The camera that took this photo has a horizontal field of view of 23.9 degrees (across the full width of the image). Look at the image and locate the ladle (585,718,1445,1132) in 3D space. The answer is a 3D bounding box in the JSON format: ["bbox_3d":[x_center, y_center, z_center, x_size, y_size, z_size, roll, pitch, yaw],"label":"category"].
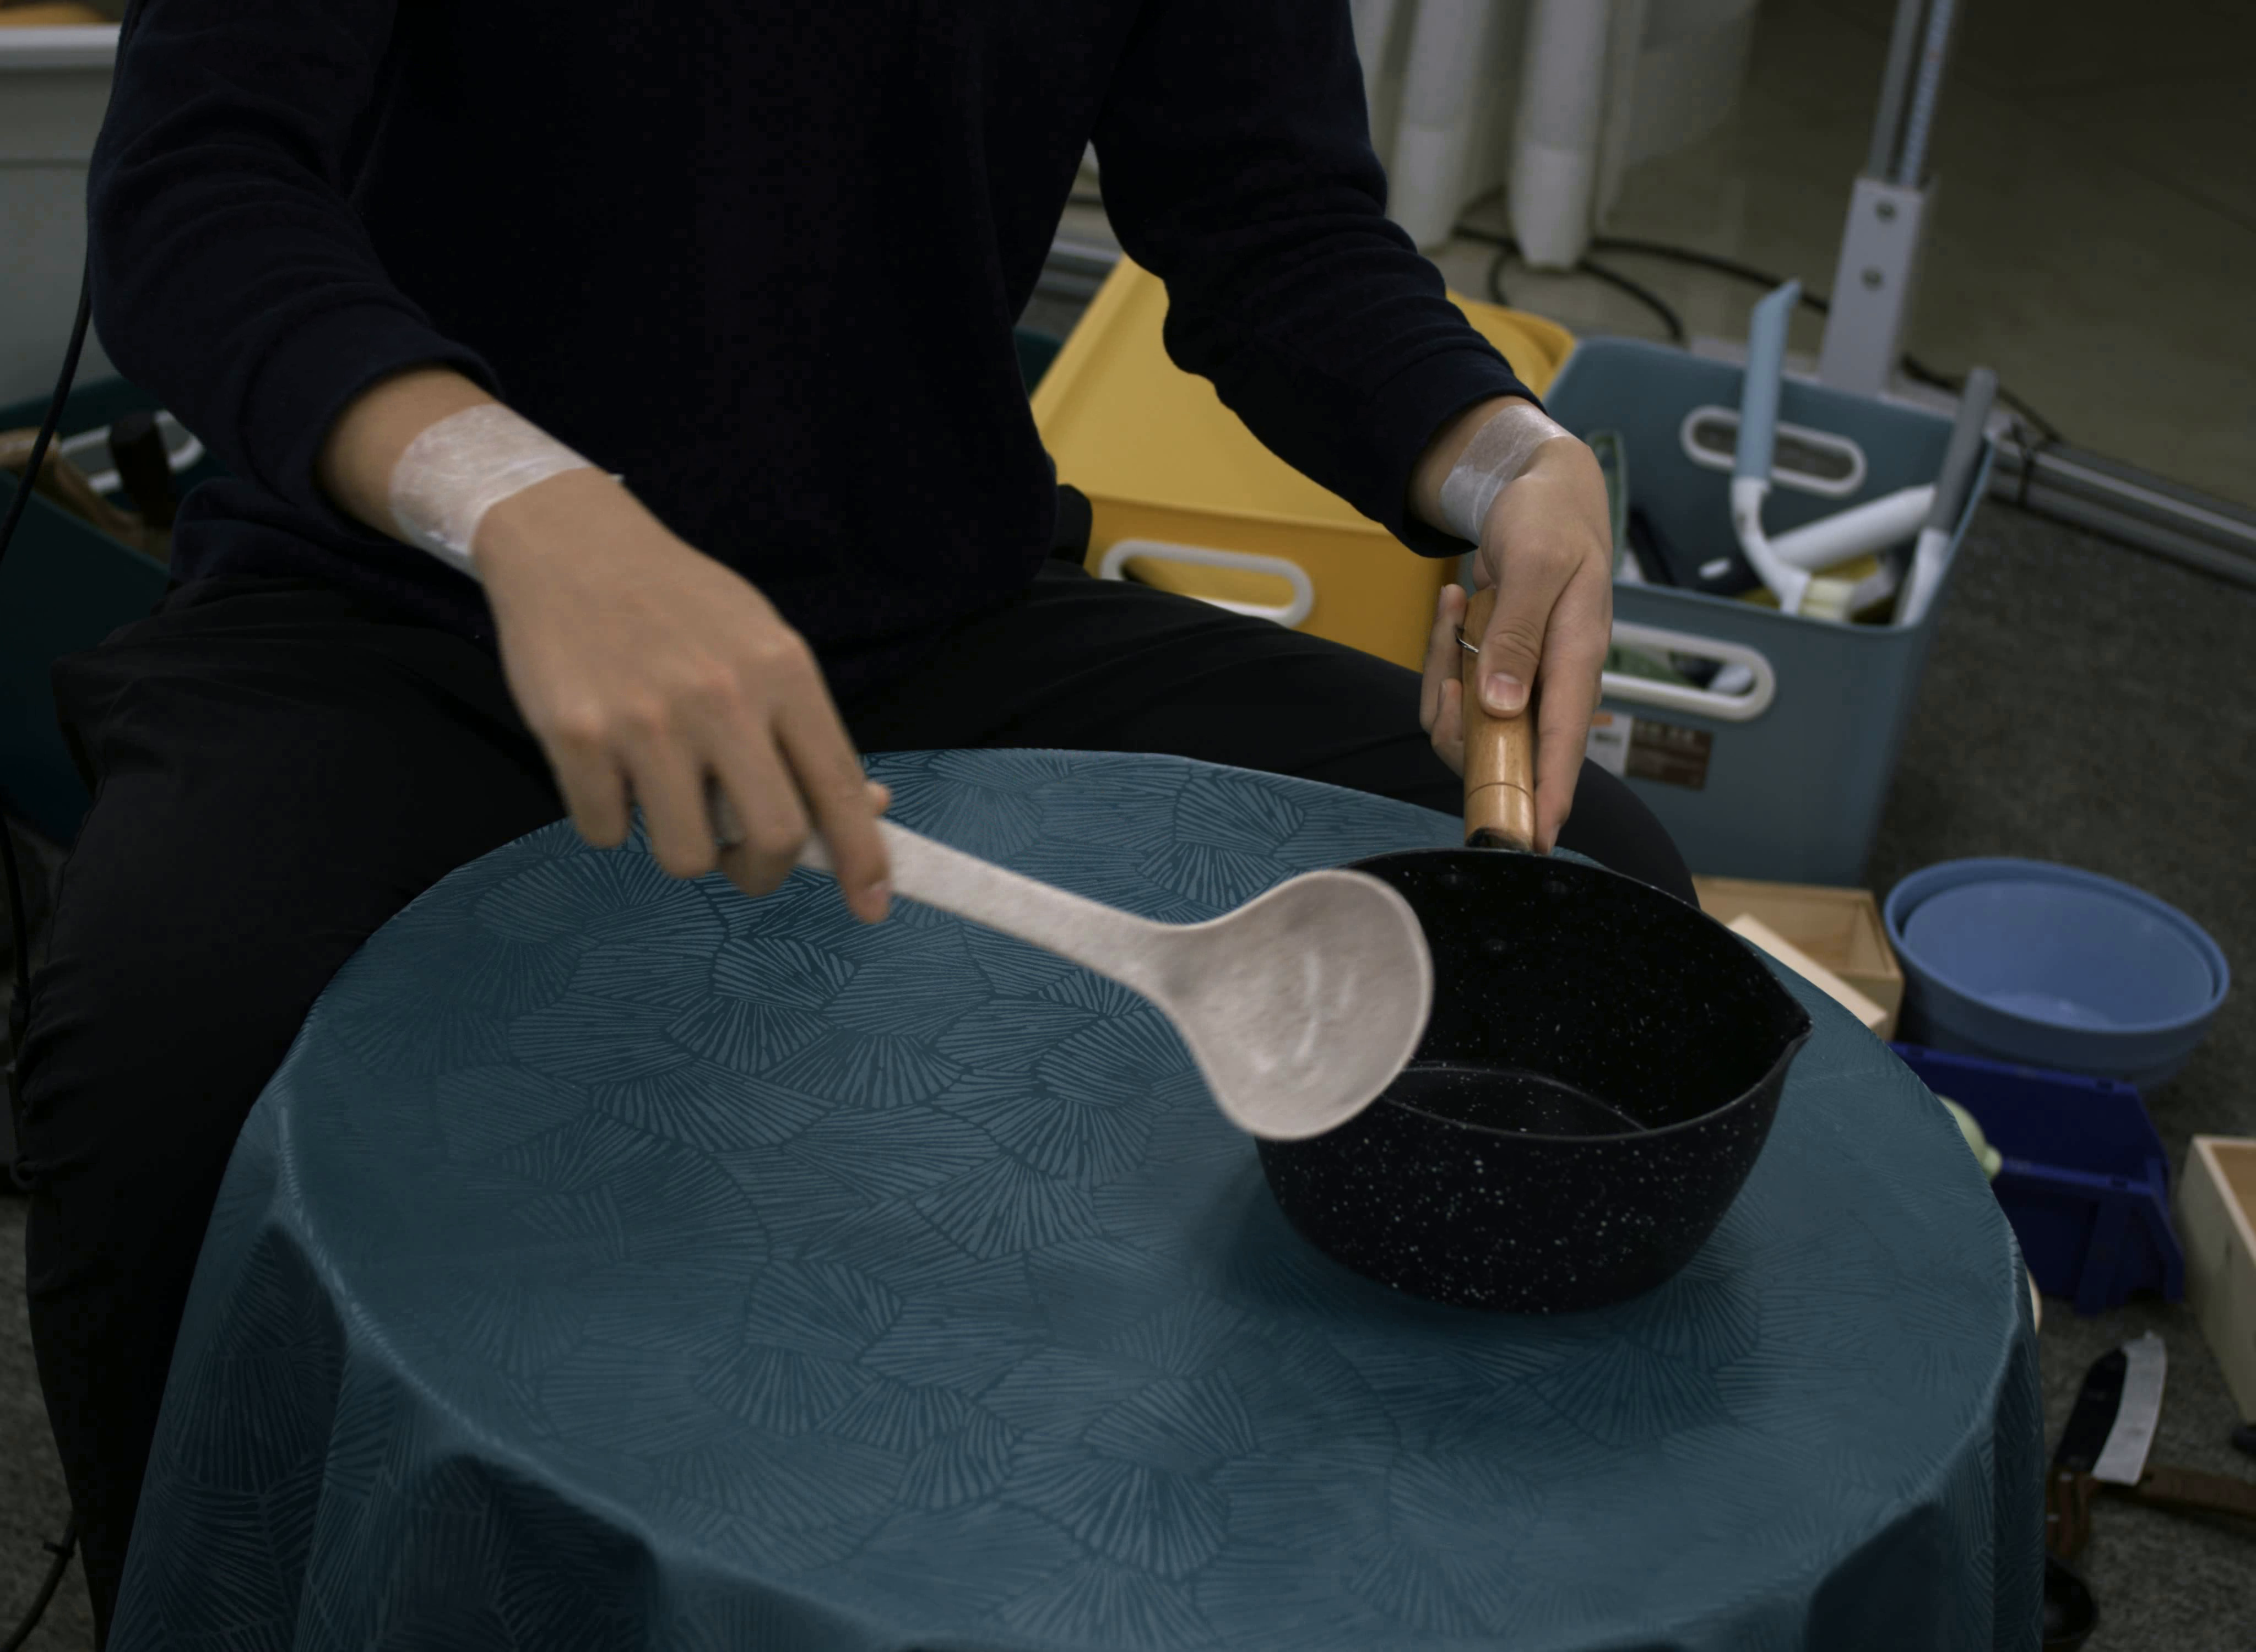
[{"bbox_3d":[-0.033,0.017,1.641,0.273,0.089,0.069,21,-10,-19],"label":"ladle"}]

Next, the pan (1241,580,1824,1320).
[{"bbox_3d":[0.128,0.040,1.863,0.207,0.108,0.345,4,31,-2],"label":"pan"}]
